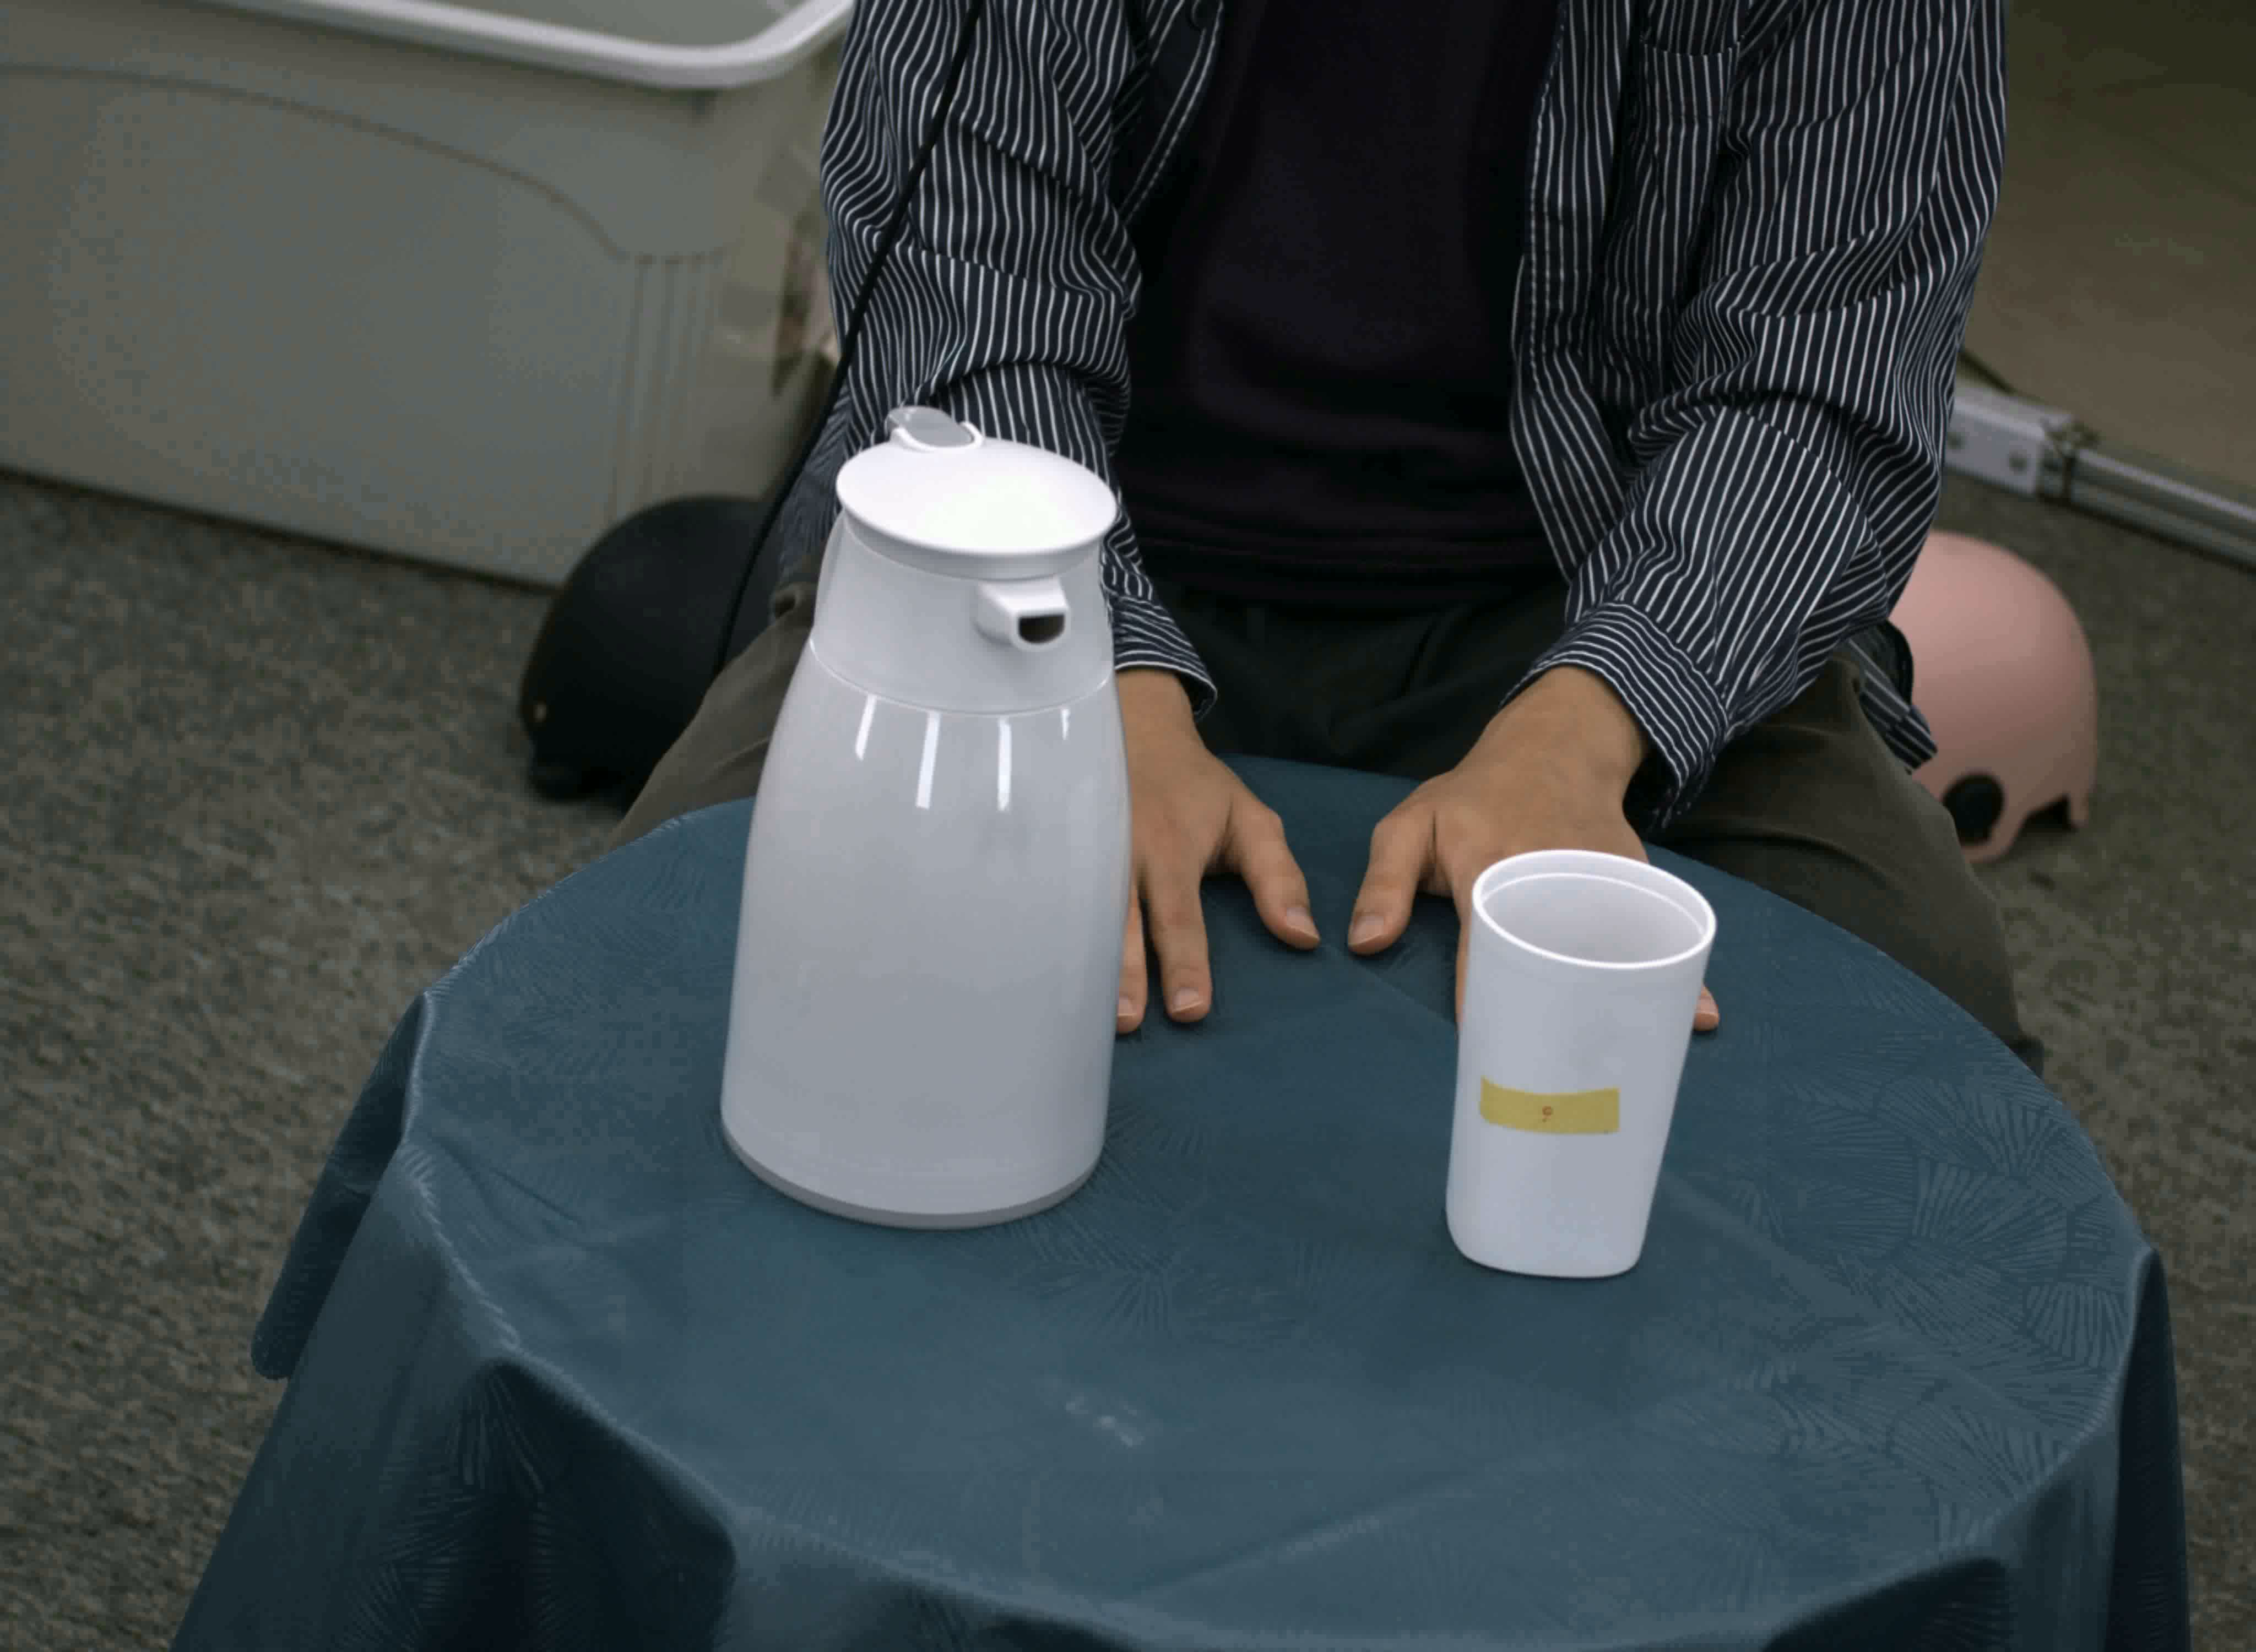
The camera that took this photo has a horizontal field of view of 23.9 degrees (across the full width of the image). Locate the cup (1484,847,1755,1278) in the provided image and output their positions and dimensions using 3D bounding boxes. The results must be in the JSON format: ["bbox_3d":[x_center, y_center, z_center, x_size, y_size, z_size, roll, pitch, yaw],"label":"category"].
[{"bbox_3d":[0.160,0.081,1.774,0.081,0.125,0.082,5,26,-3],"label":"cup"}]

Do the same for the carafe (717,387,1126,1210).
[{"bbox_3d":[-0.073,-0.019,1.781,0.132,0.248,0.169,-10,33,-27],"label":"carafe"}]
